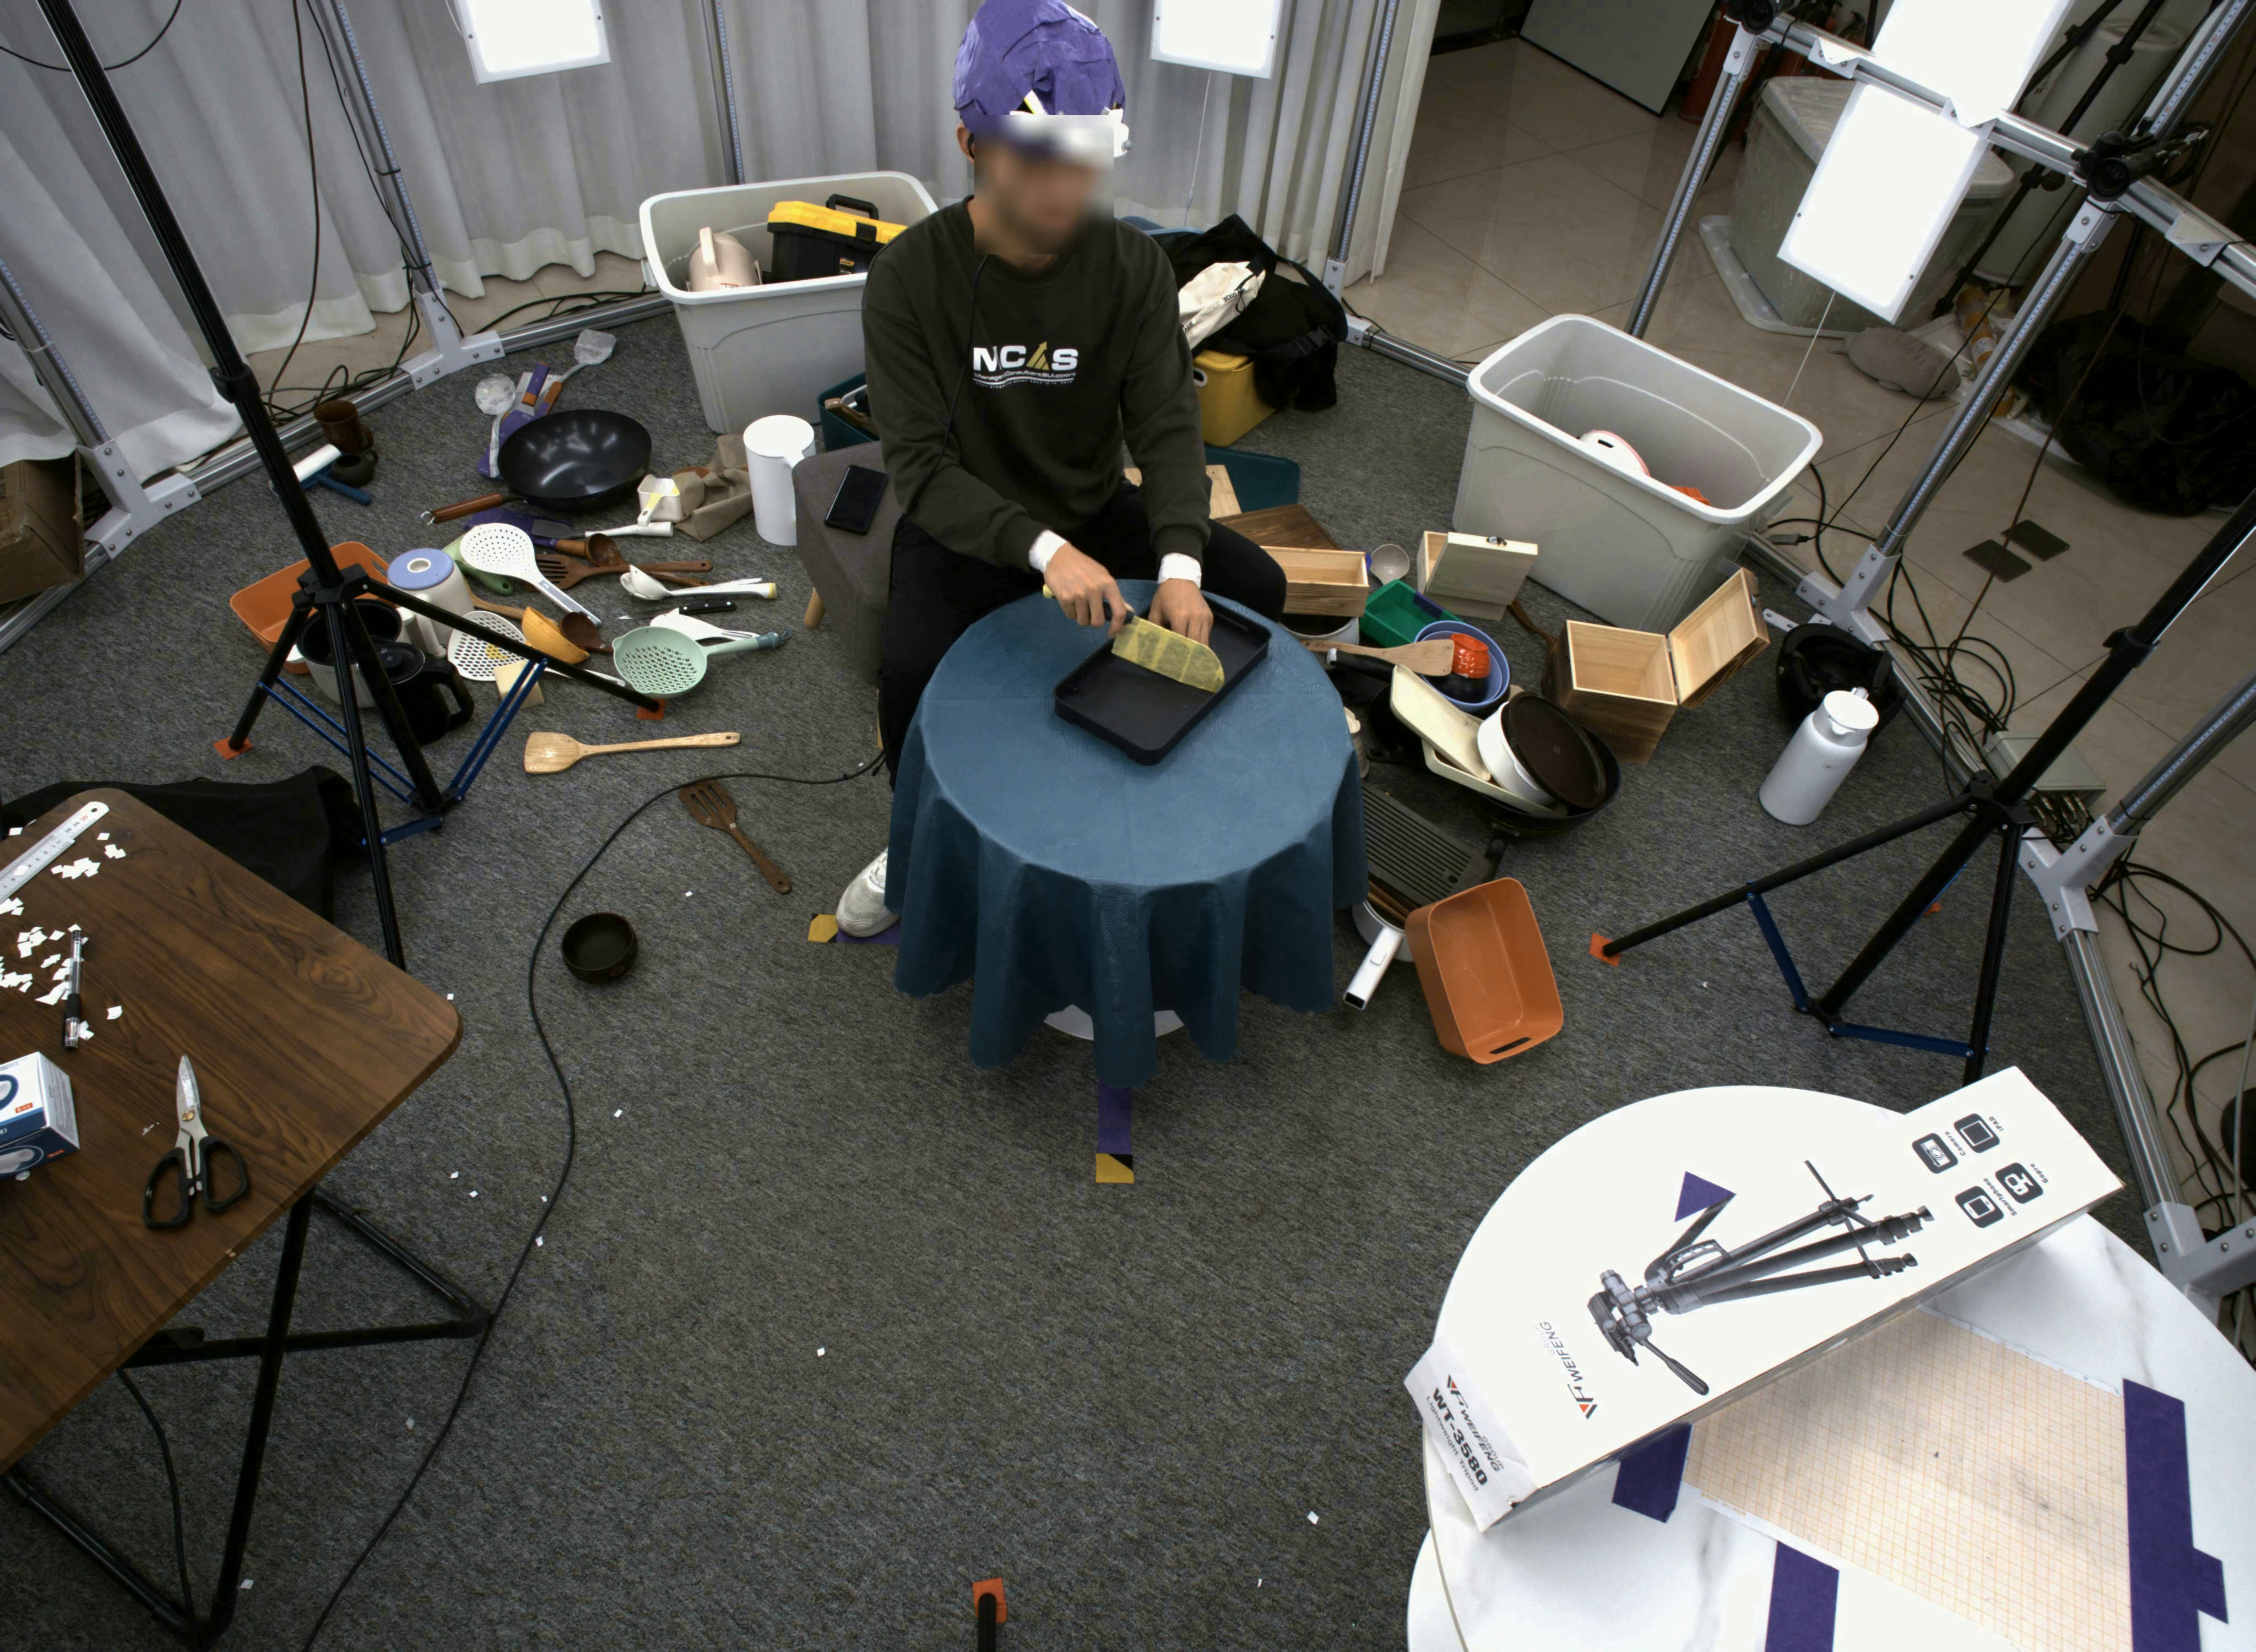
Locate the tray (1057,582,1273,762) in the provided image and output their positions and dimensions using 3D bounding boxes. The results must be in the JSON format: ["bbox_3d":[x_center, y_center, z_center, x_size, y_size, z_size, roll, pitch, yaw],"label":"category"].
[{"bbox_3d":[0.057,-0.228,1.844,0.186,0.036,0.322,29,53,20],"label":"tray"}]

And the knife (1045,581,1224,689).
[{"bbox_3d":[0.008,-0.271,1.830,0.290,0.079,0.028,27,35,4],"label":"knife"}]
